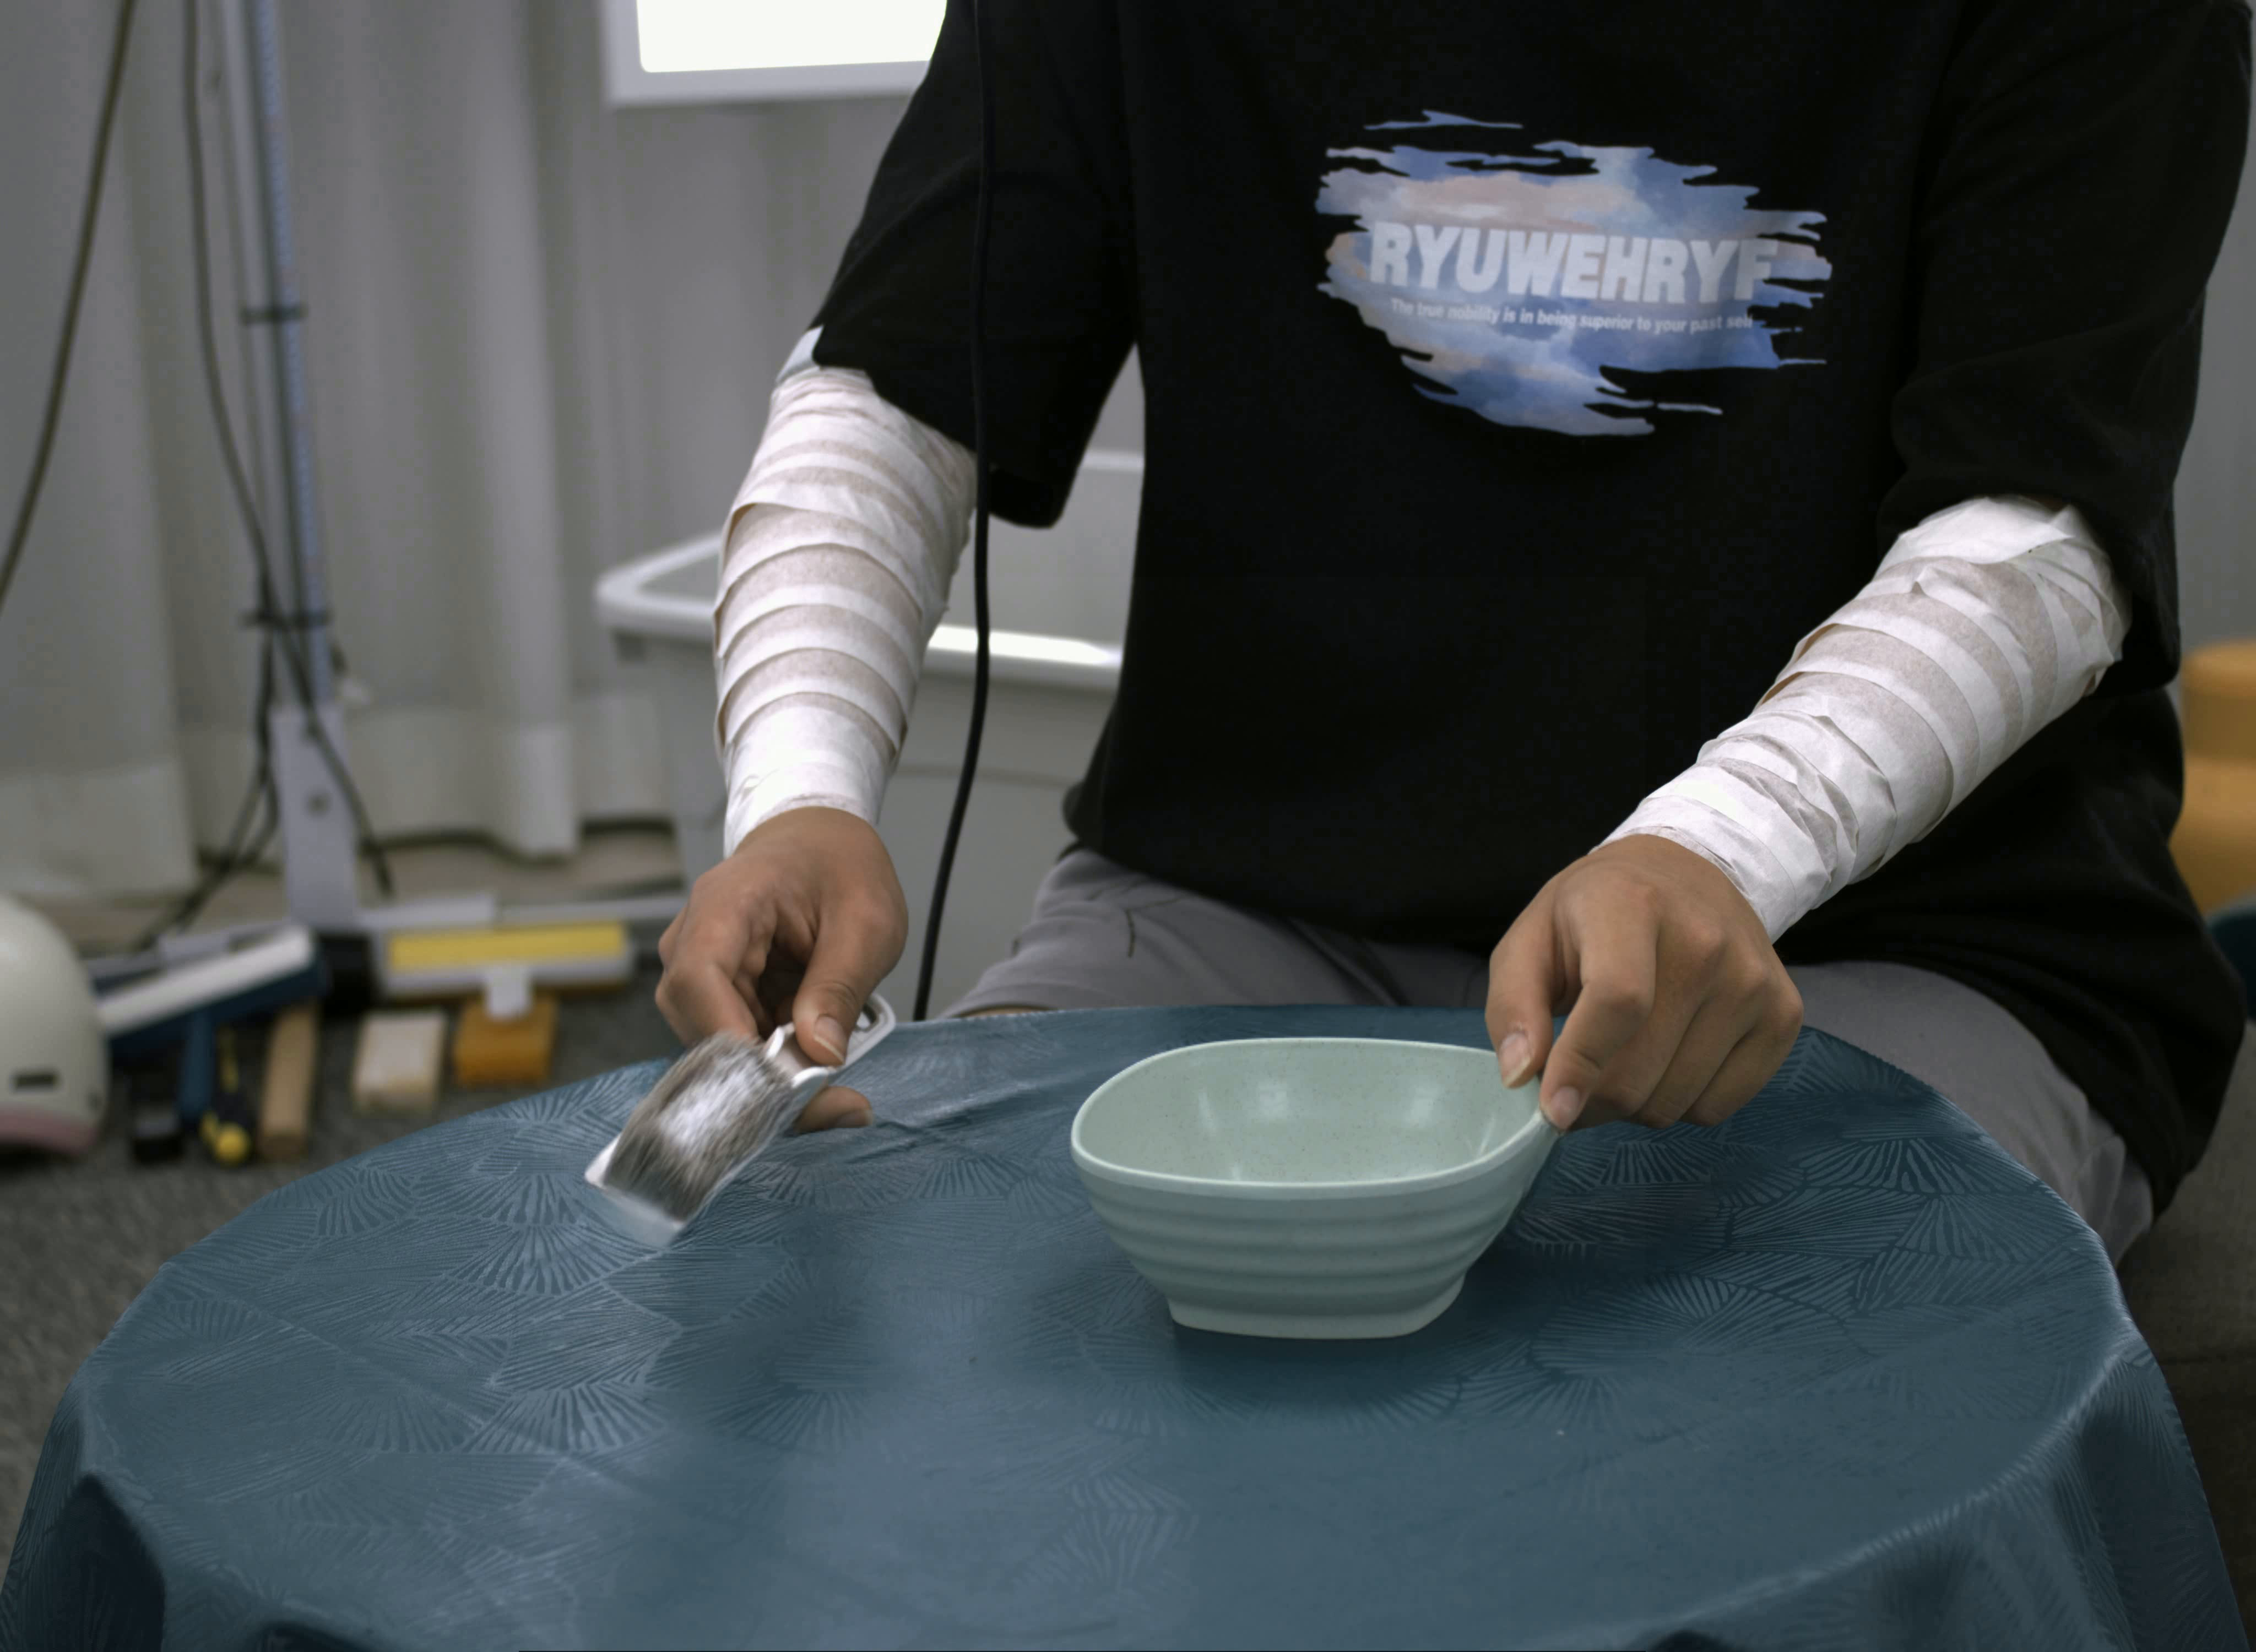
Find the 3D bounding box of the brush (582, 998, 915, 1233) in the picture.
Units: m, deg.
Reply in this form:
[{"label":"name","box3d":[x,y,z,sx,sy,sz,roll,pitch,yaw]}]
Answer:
[{"label":"brush","box3d":[-0.100,0.072,1.666,0.034,0.050,0.244,43,20,6]}]

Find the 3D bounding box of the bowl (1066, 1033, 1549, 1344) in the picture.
[{"label":"bowl","box3d":[0.054,0.110,1.610,0.151,0.058,0.152,-1,15,0]}]
